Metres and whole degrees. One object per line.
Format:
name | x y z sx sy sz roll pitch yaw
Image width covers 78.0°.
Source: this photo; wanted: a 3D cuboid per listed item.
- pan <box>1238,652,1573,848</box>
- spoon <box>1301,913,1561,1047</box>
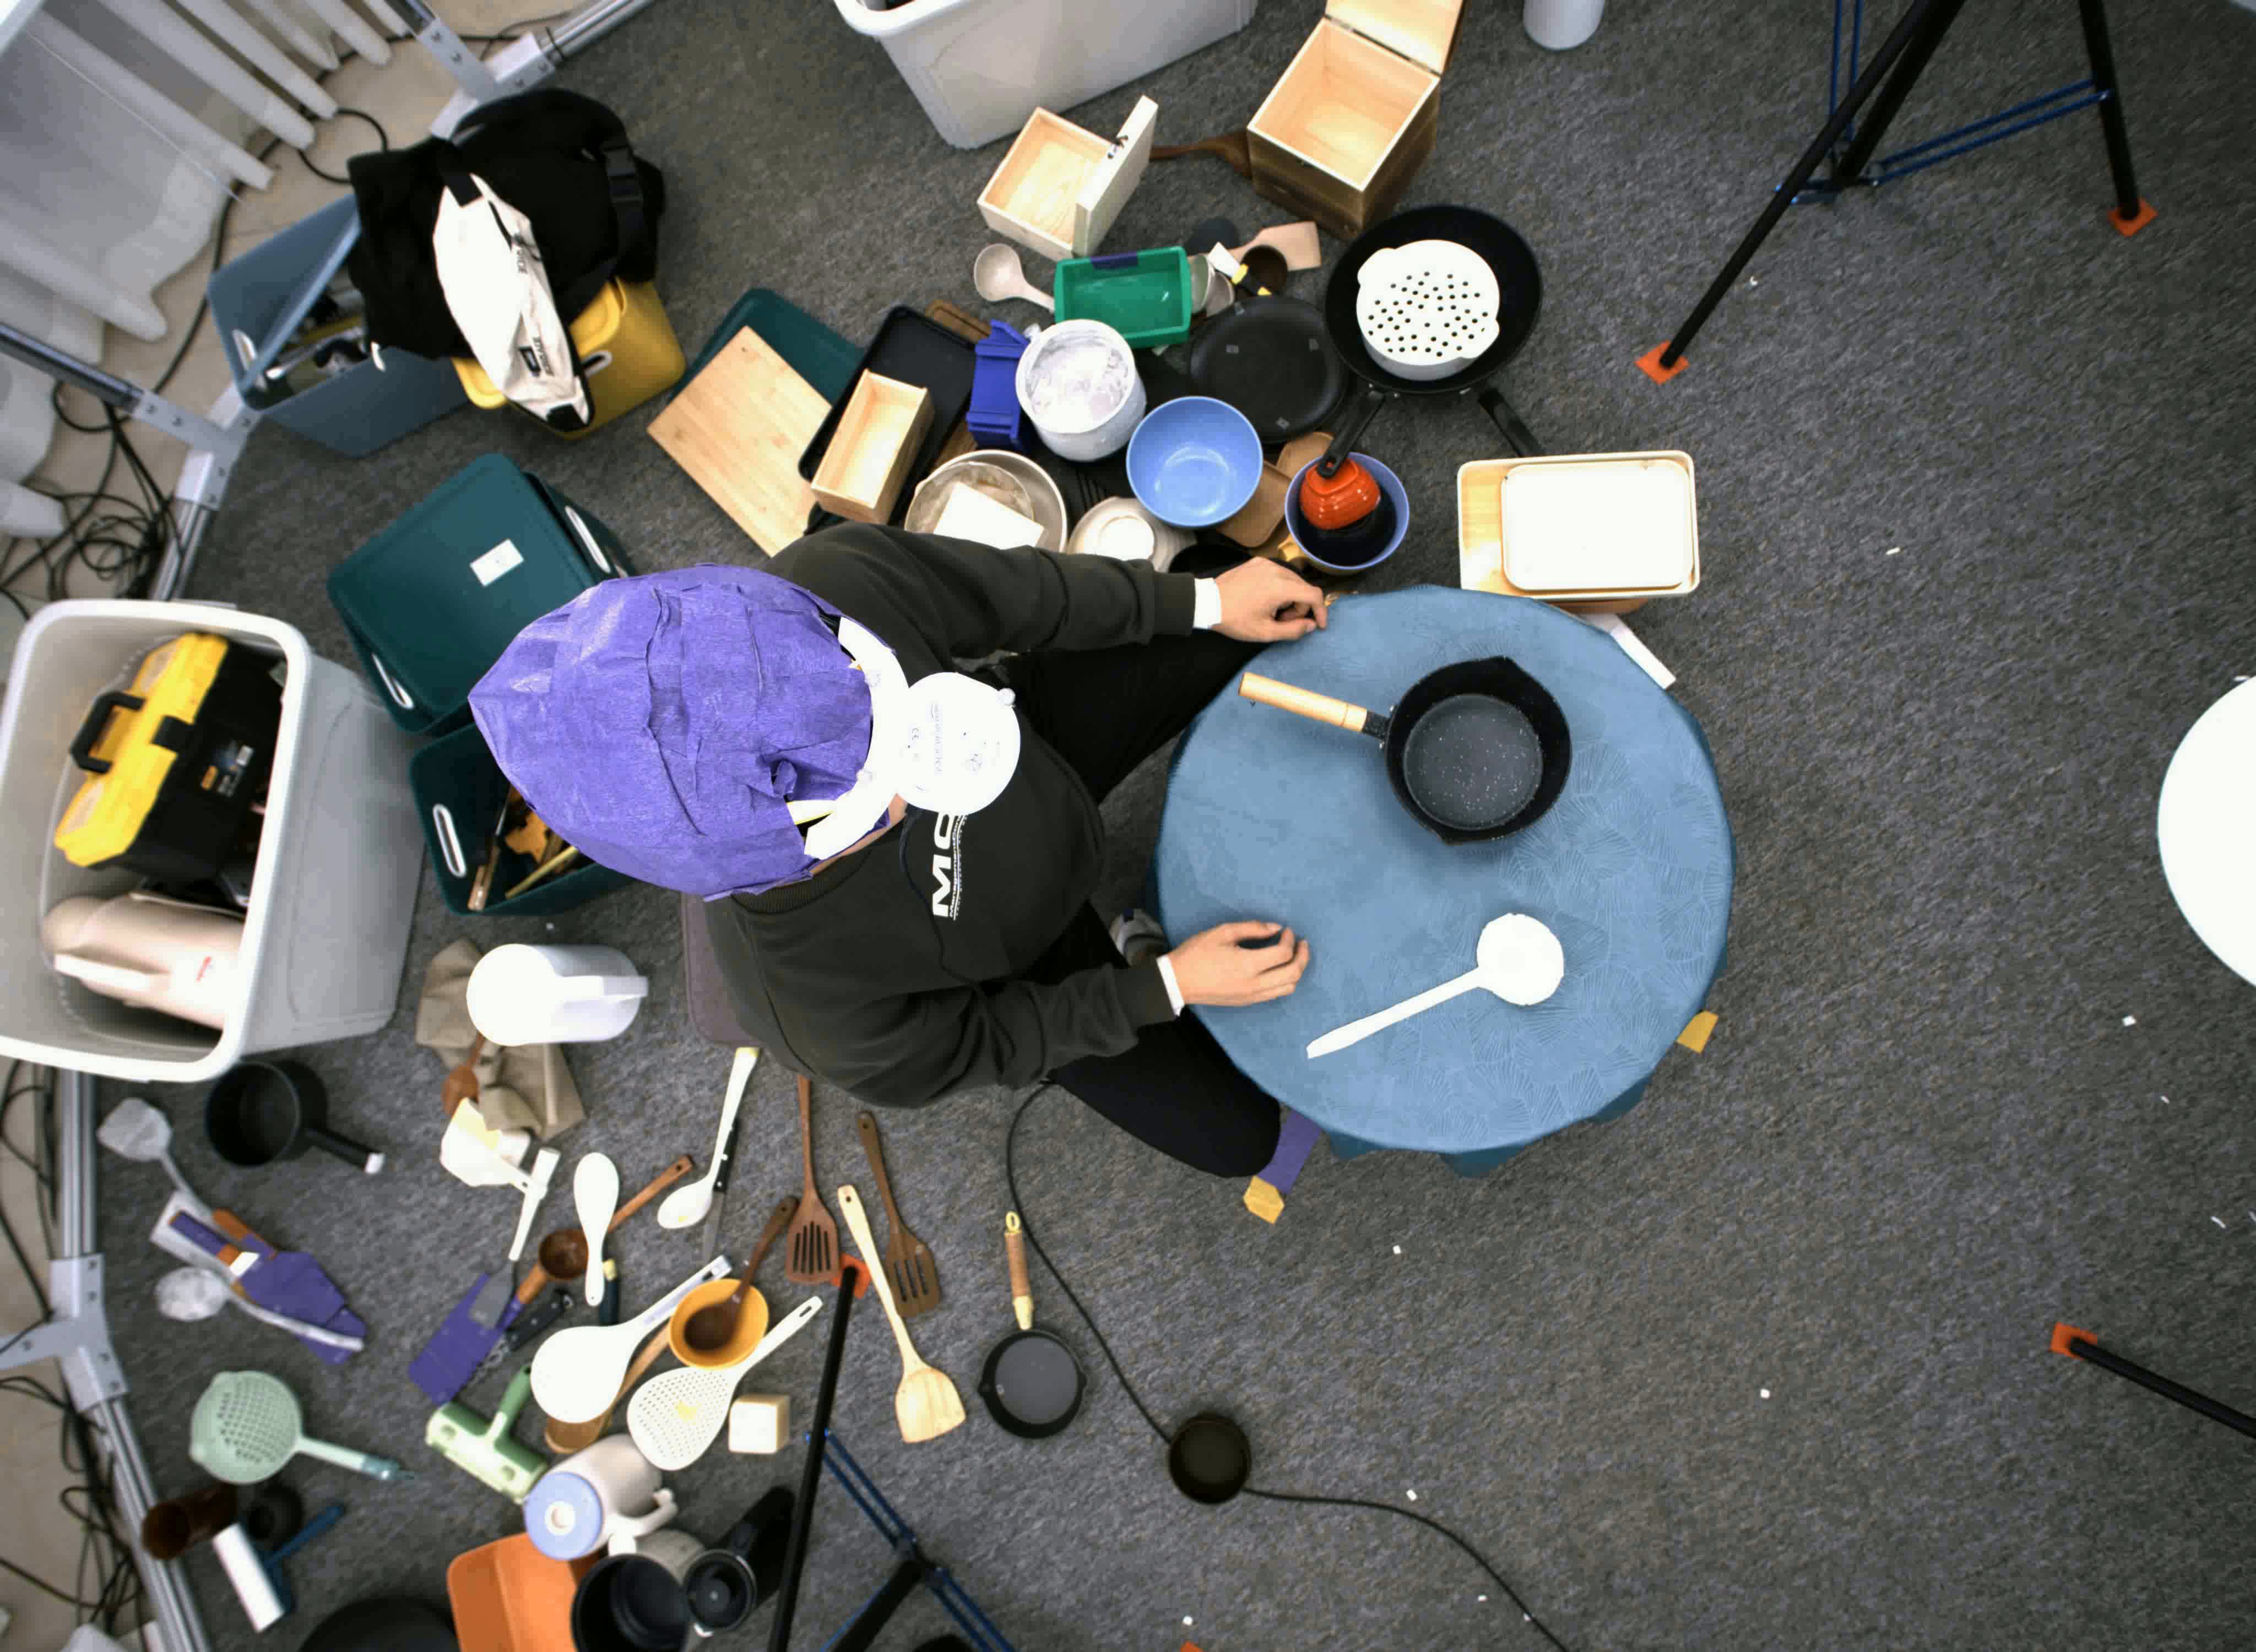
pan | 0.279 -0.095 1.413 0.343 0.108 0.207 16 90 10
spoon | 0.305 0.168 1.419 0.279 0.059 0.100 -22 80 9
